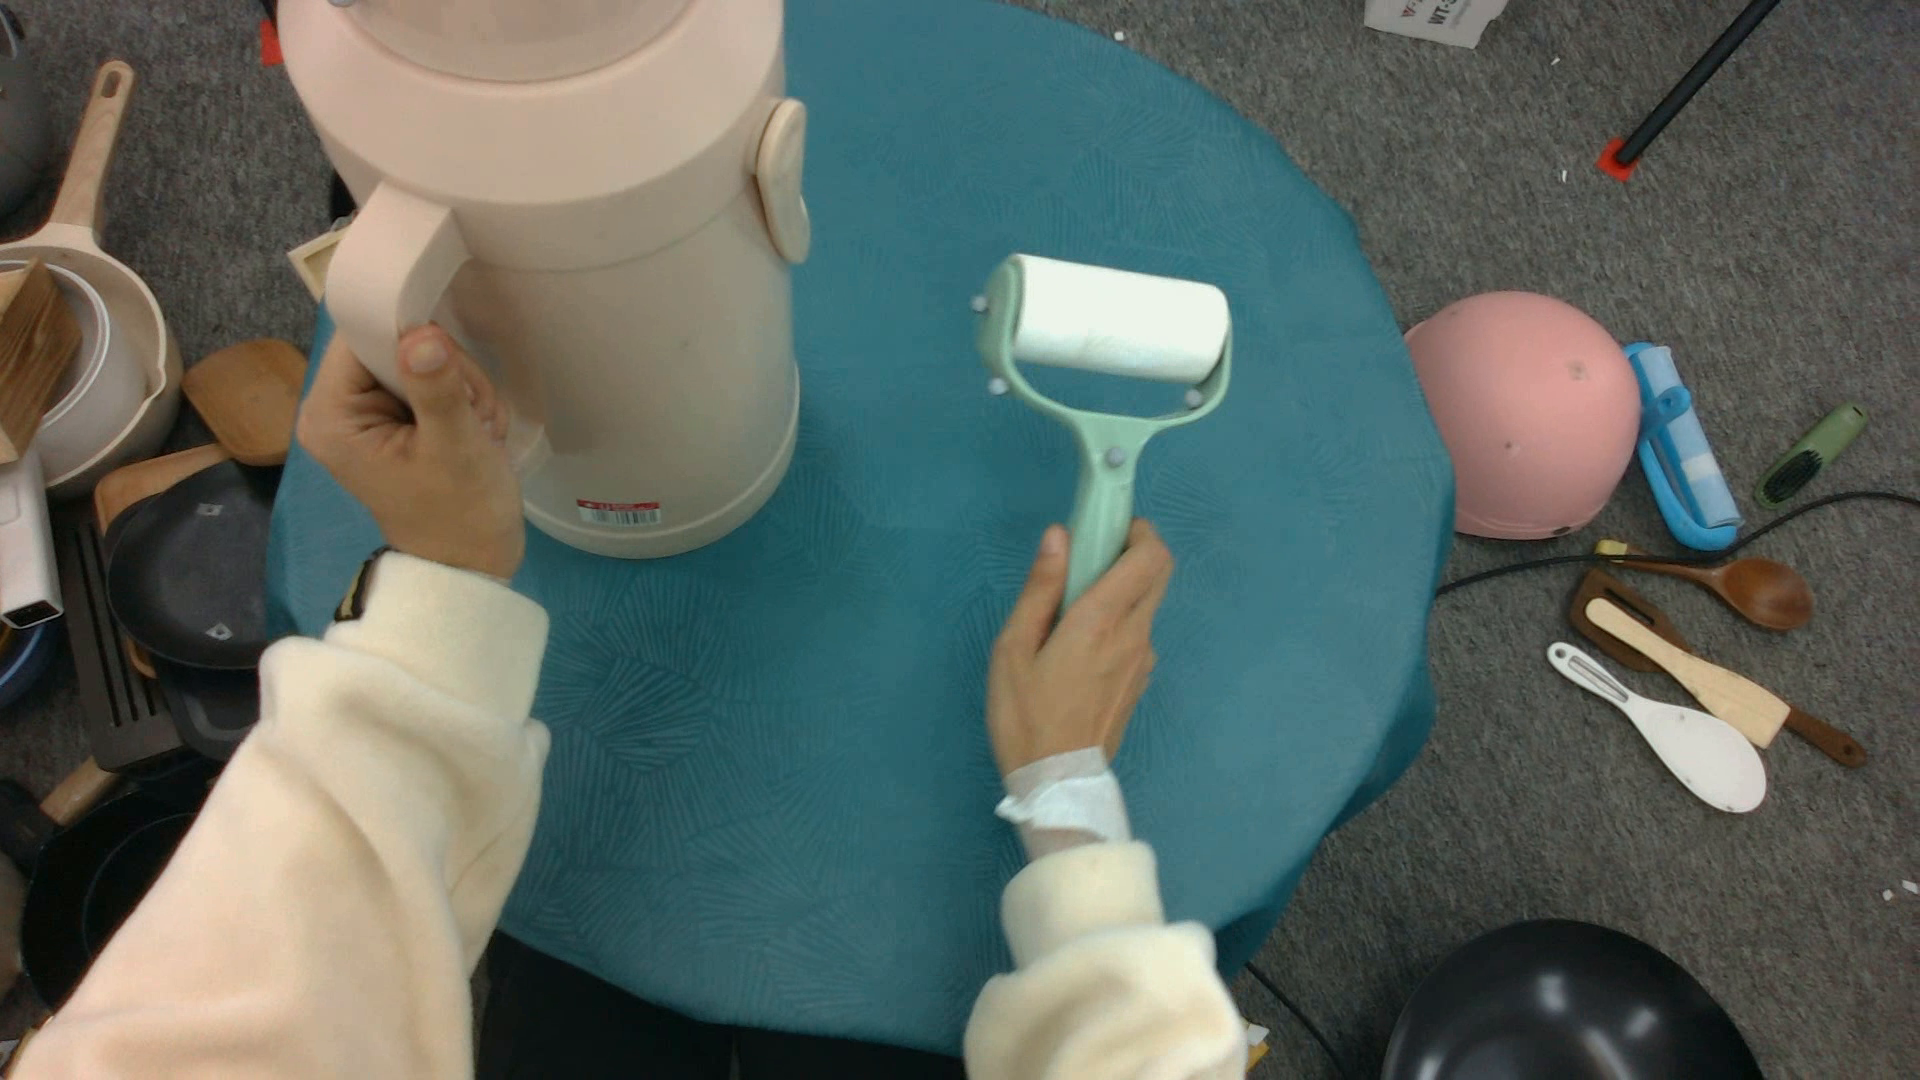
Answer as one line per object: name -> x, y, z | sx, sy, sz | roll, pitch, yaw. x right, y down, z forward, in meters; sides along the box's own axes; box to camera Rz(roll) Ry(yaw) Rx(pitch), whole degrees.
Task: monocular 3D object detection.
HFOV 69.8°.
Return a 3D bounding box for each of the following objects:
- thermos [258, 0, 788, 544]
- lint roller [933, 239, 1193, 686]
thermos -> -0.157, -0.129, 0.526 | 0.175, 0.404, 0.208 | 21, 68, 1
lint roller -> 0.042, -0.033, 0.616 | 0.117, 0.048, 0.197 | 4, 88, -23
